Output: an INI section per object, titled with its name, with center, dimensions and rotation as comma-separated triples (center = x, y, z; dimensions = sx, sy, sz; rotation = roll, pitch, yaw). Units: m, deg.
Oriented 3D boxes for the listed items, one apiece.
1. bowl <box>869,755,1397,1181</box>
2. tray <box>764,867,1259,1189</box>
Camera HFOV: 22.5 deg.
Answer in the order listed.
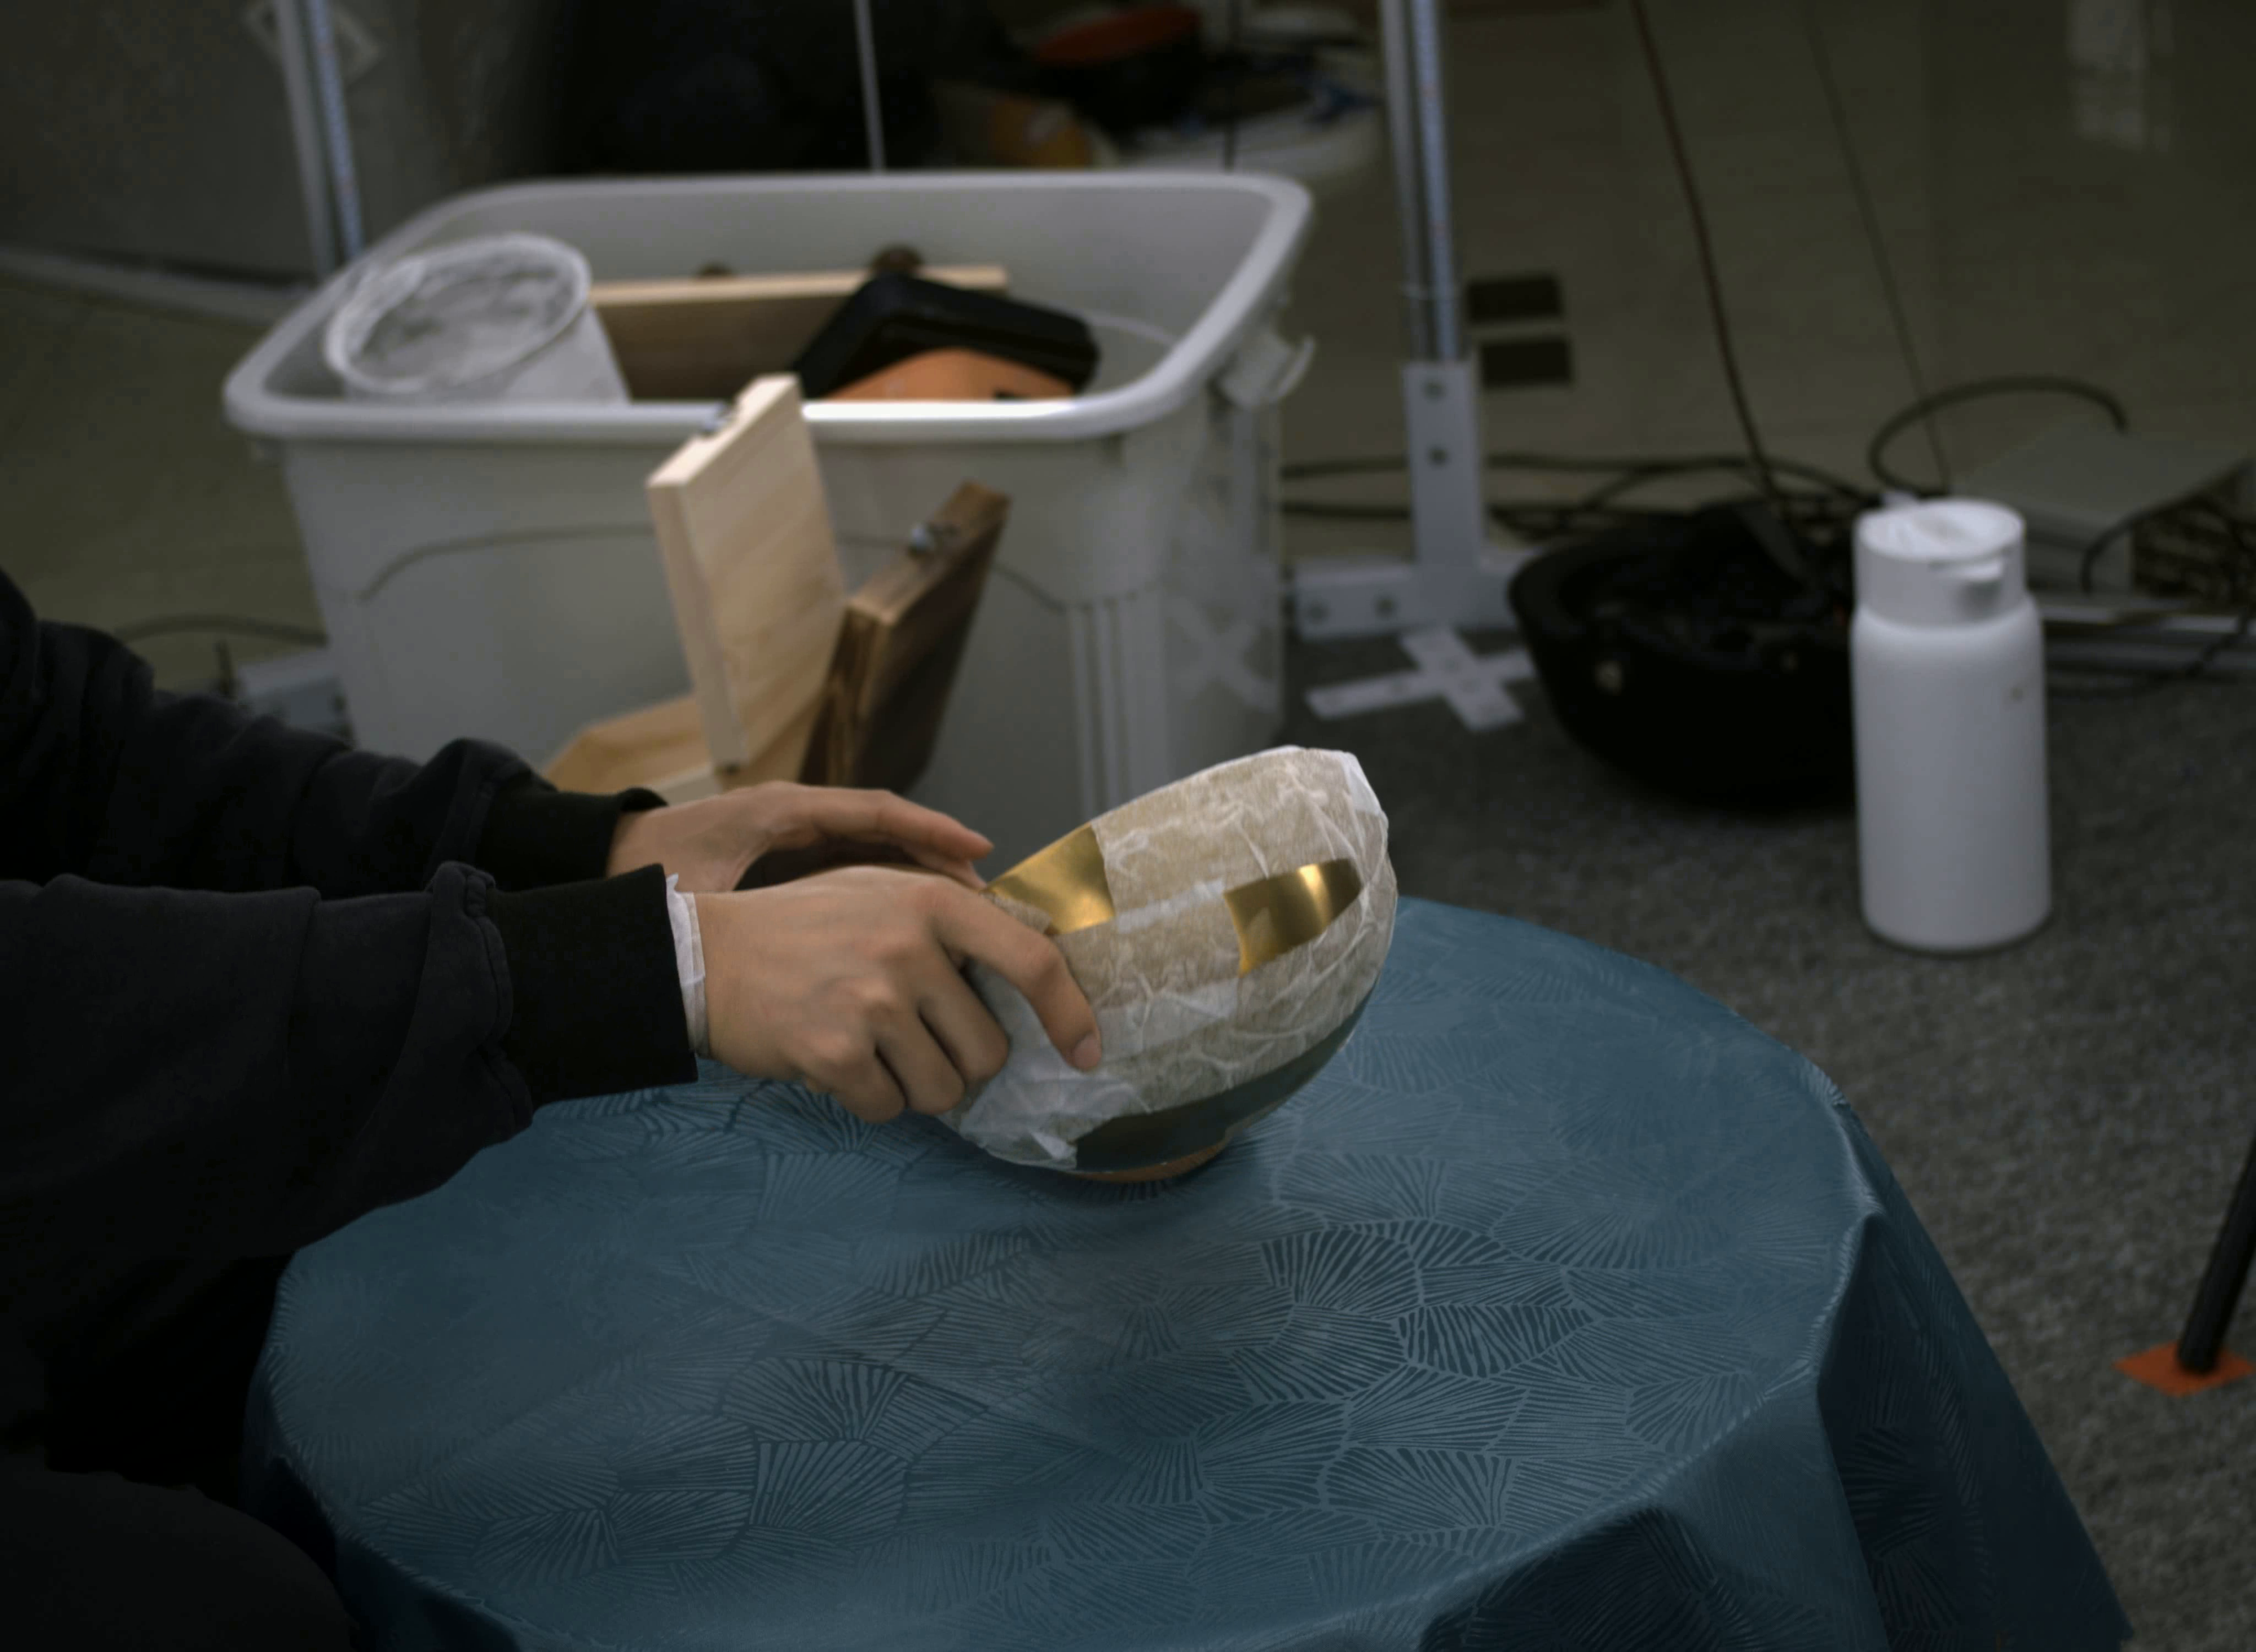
[bowl]
center = 0.015, 0.068, 2.030
dimensions = 0.213, 0.217, 0.094
rotation = -20, 73, -28
[tray]
center = -0.047, 0.078, 2.221
dimensions = 0.229, 0.021, 0.101
rotation = 31, 44, 31
